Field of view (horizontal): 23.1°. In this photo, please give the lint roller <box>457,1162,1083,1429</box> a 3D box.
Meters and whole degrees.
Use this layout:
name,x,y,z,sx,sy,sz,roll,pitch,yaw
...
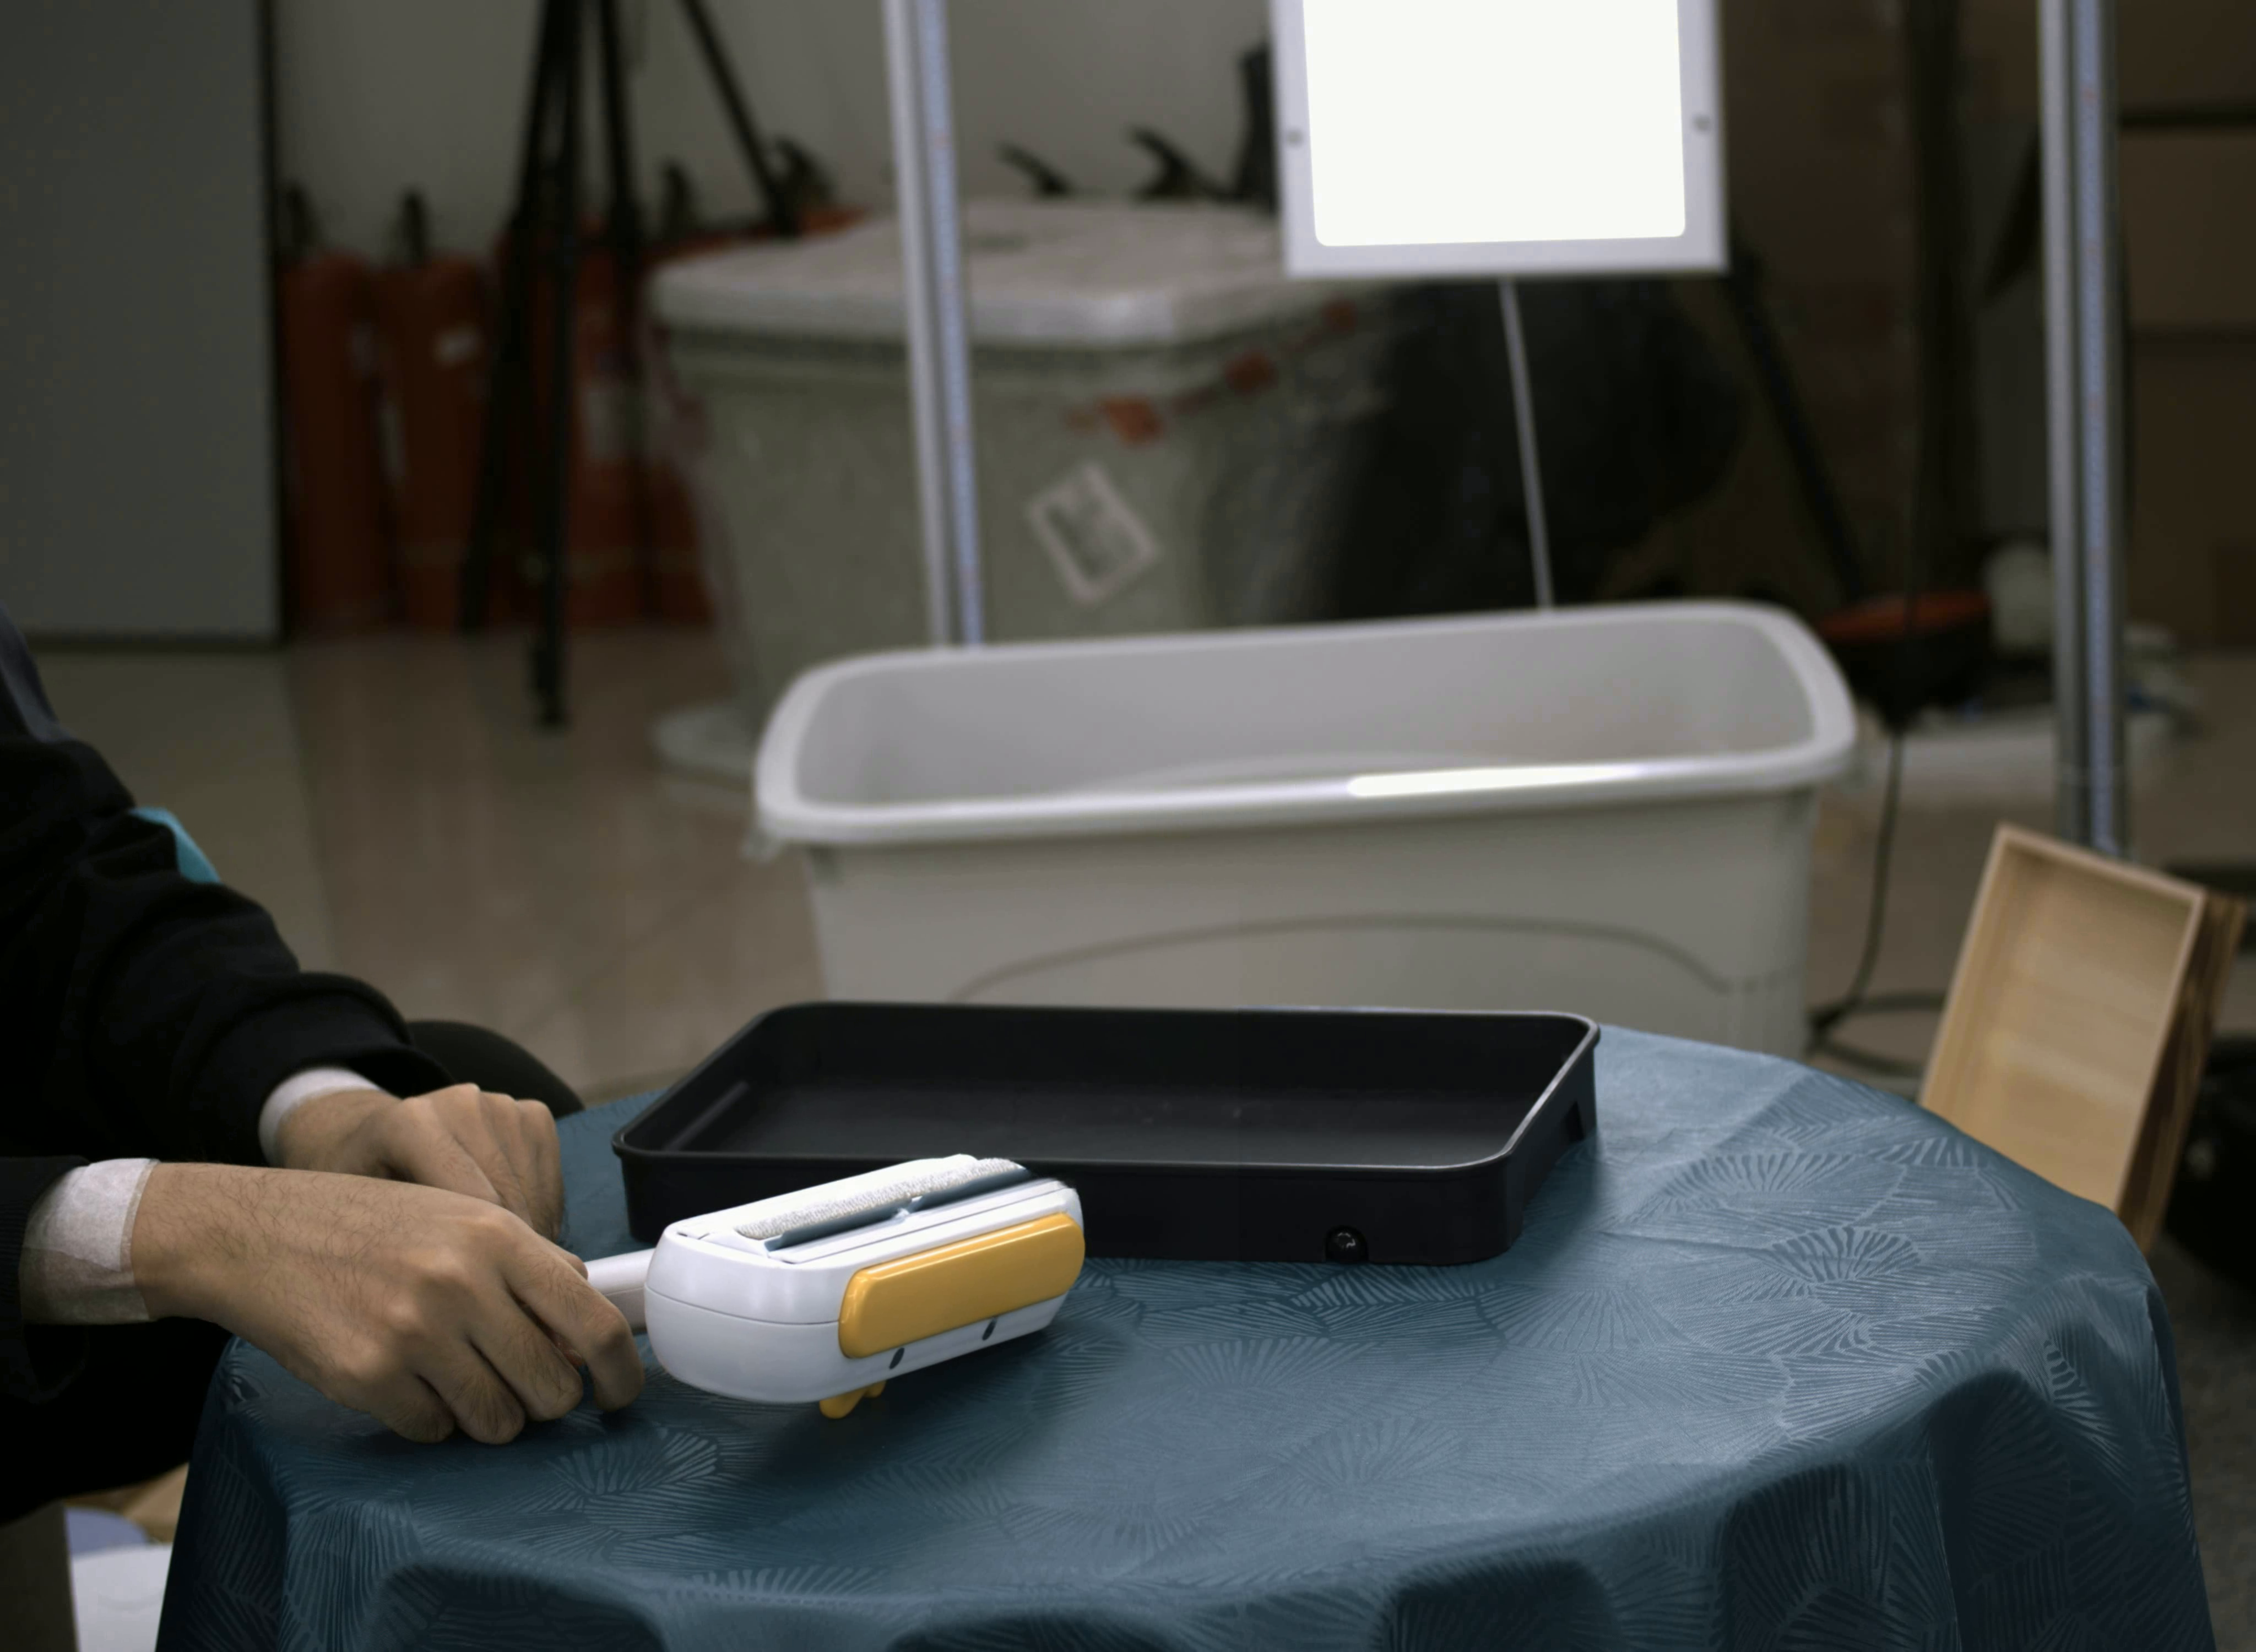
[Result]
name,x,y,z,sx,sy,sz,roll,pitch,yaw
lint roller,-0.132,0.145,1.729,0.196,0.074,0.188,2,10,33

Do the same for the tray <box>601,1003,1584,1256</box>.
name,x,y,z,sx,sy,sz,roll,pitch,yaw
tray,-0.009,0.104,1.914,0.321,0.037,0.181,-1,14,18
